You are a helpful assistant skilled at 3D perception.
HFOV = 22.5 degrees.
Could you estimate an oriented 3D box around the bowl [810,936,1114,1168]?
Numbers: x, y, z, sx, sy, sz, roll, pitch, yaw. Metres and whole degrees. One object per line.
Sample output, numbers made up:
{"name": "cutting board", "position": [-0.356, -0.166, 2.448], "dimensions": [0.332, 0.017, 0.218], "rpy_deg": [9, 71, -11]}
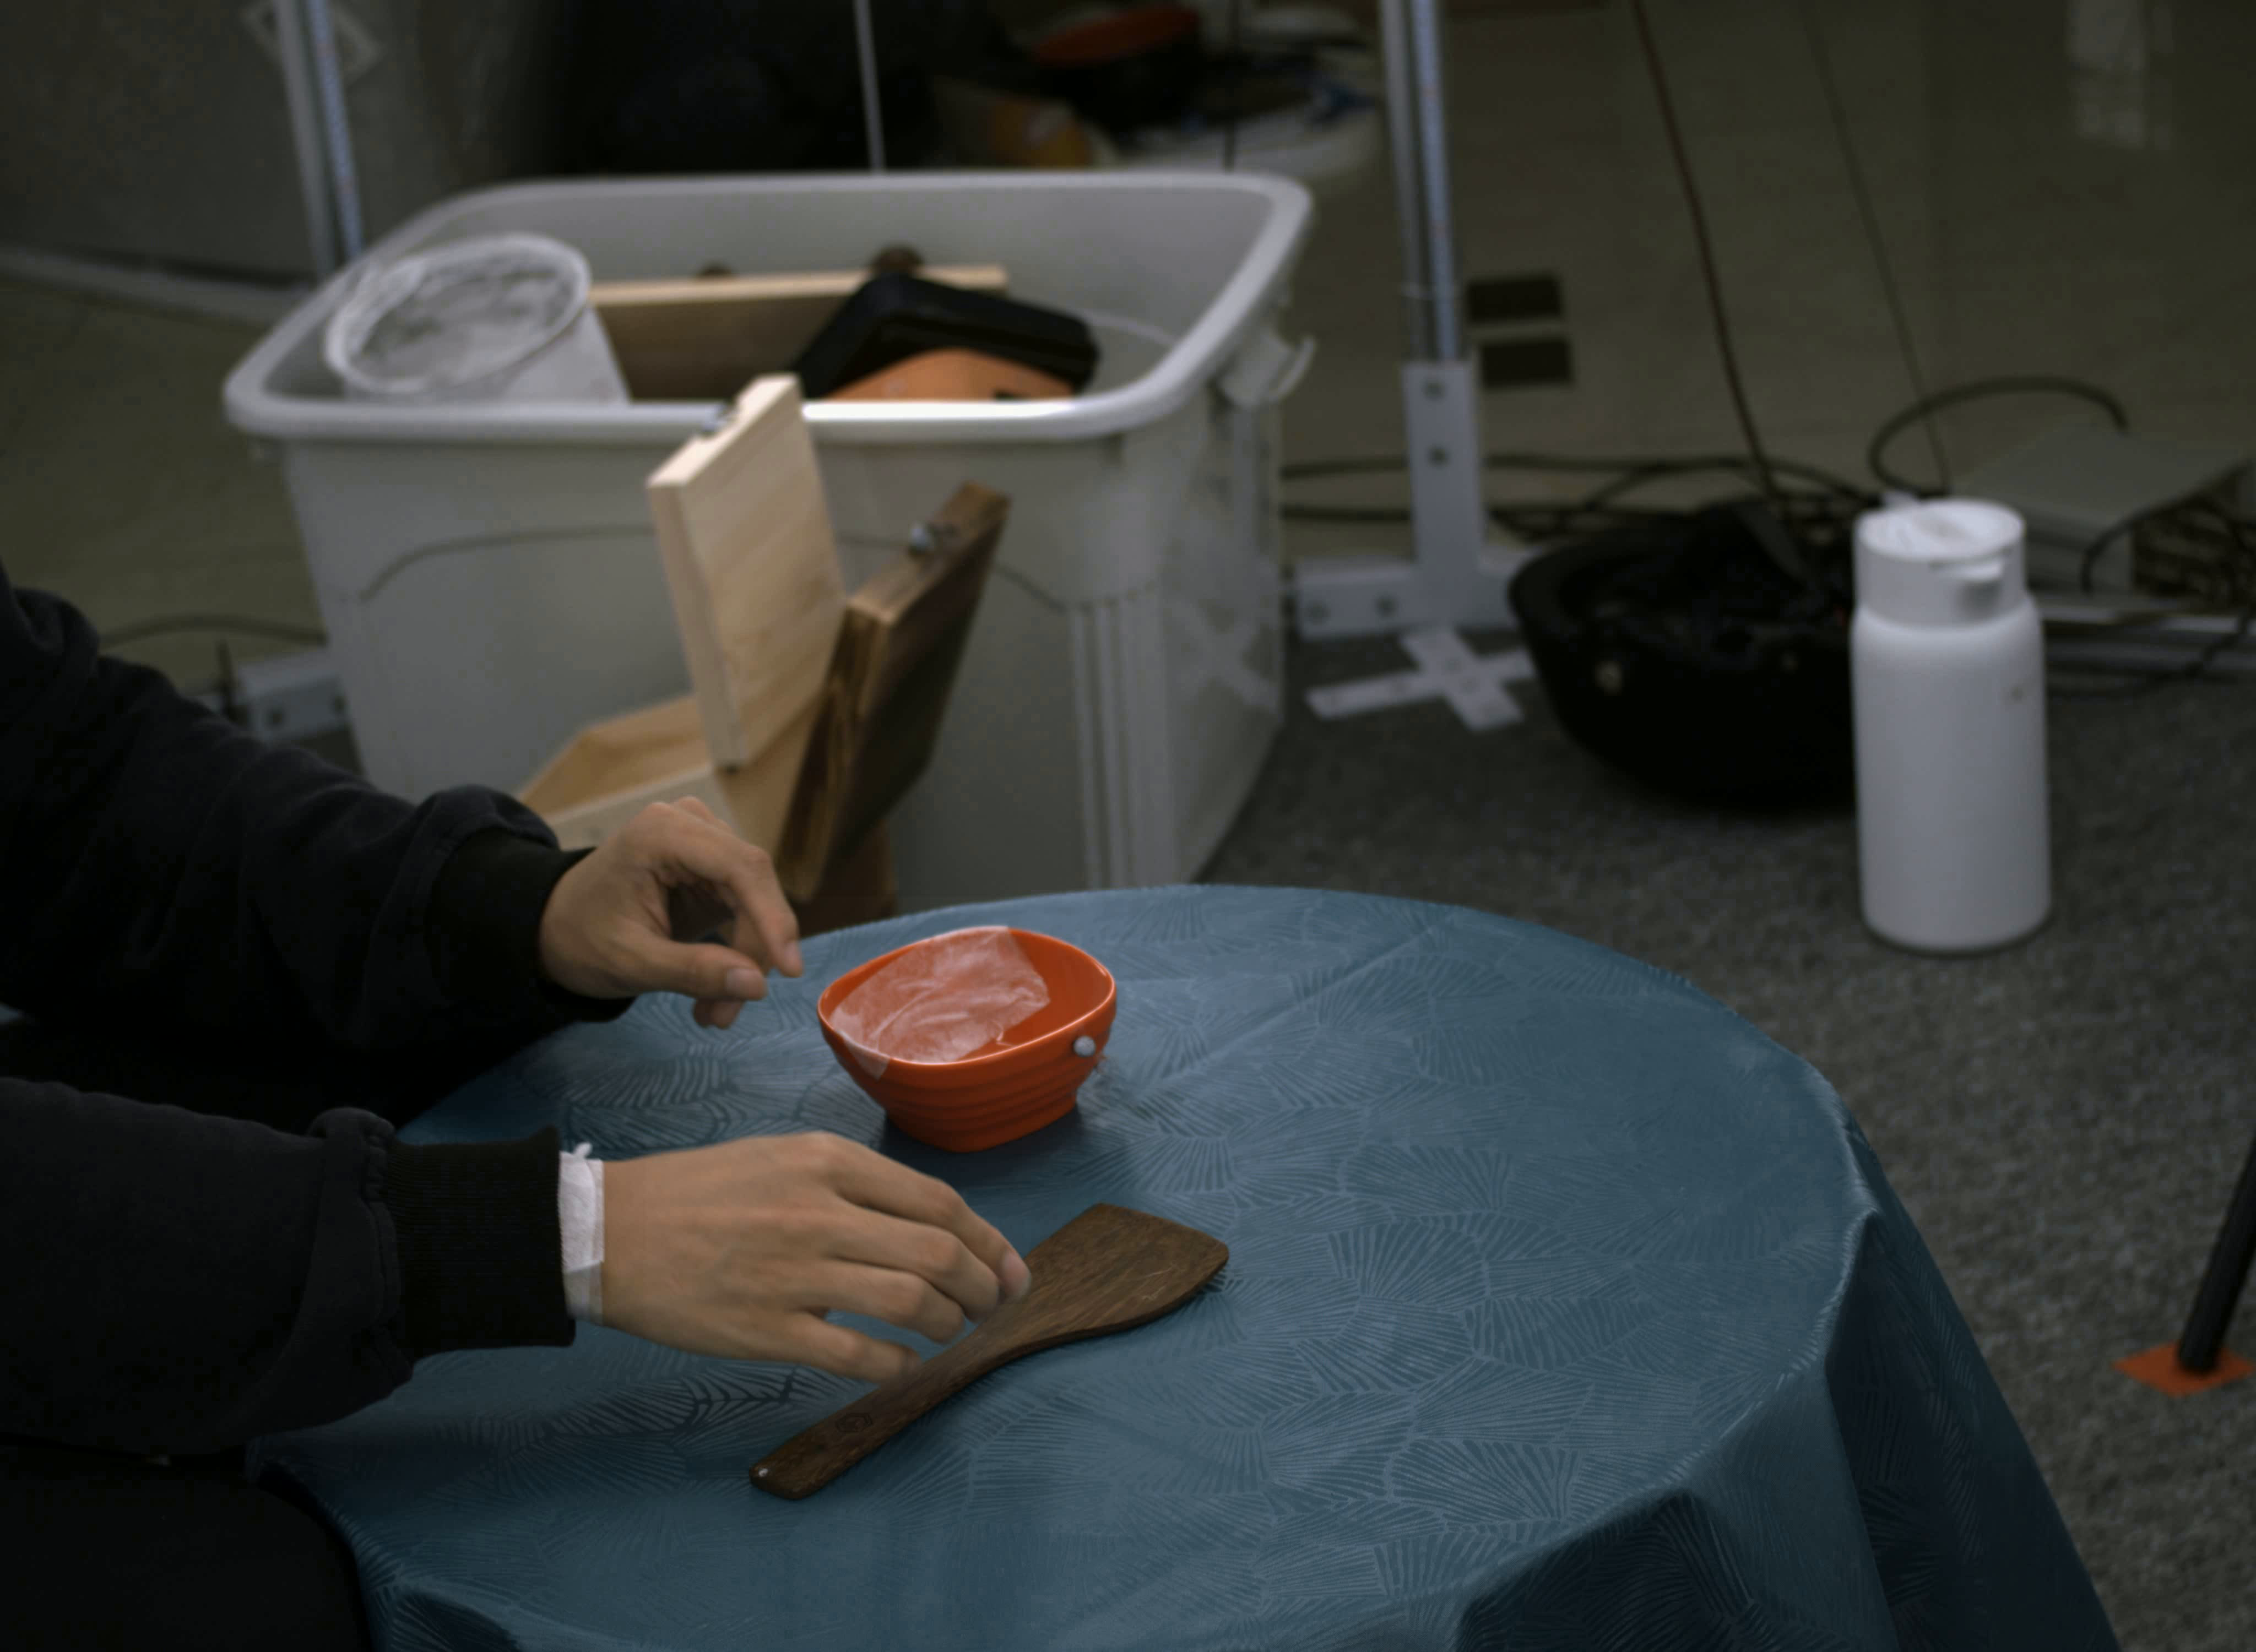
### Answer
{"name": "bowl", "position": [-0.064, 0.093, 2.215], "dimensions": [0.119, 0.052, 0.117], "rpy_deg": [-2, 28, 1]}

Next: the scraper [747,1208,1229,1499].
{"name": "scraper", "position": [-0.055, 0.191, 2.045], "dimensions": [0.075, 0.011, 0.209], "rpy_deg": [16, 34, 42]}
